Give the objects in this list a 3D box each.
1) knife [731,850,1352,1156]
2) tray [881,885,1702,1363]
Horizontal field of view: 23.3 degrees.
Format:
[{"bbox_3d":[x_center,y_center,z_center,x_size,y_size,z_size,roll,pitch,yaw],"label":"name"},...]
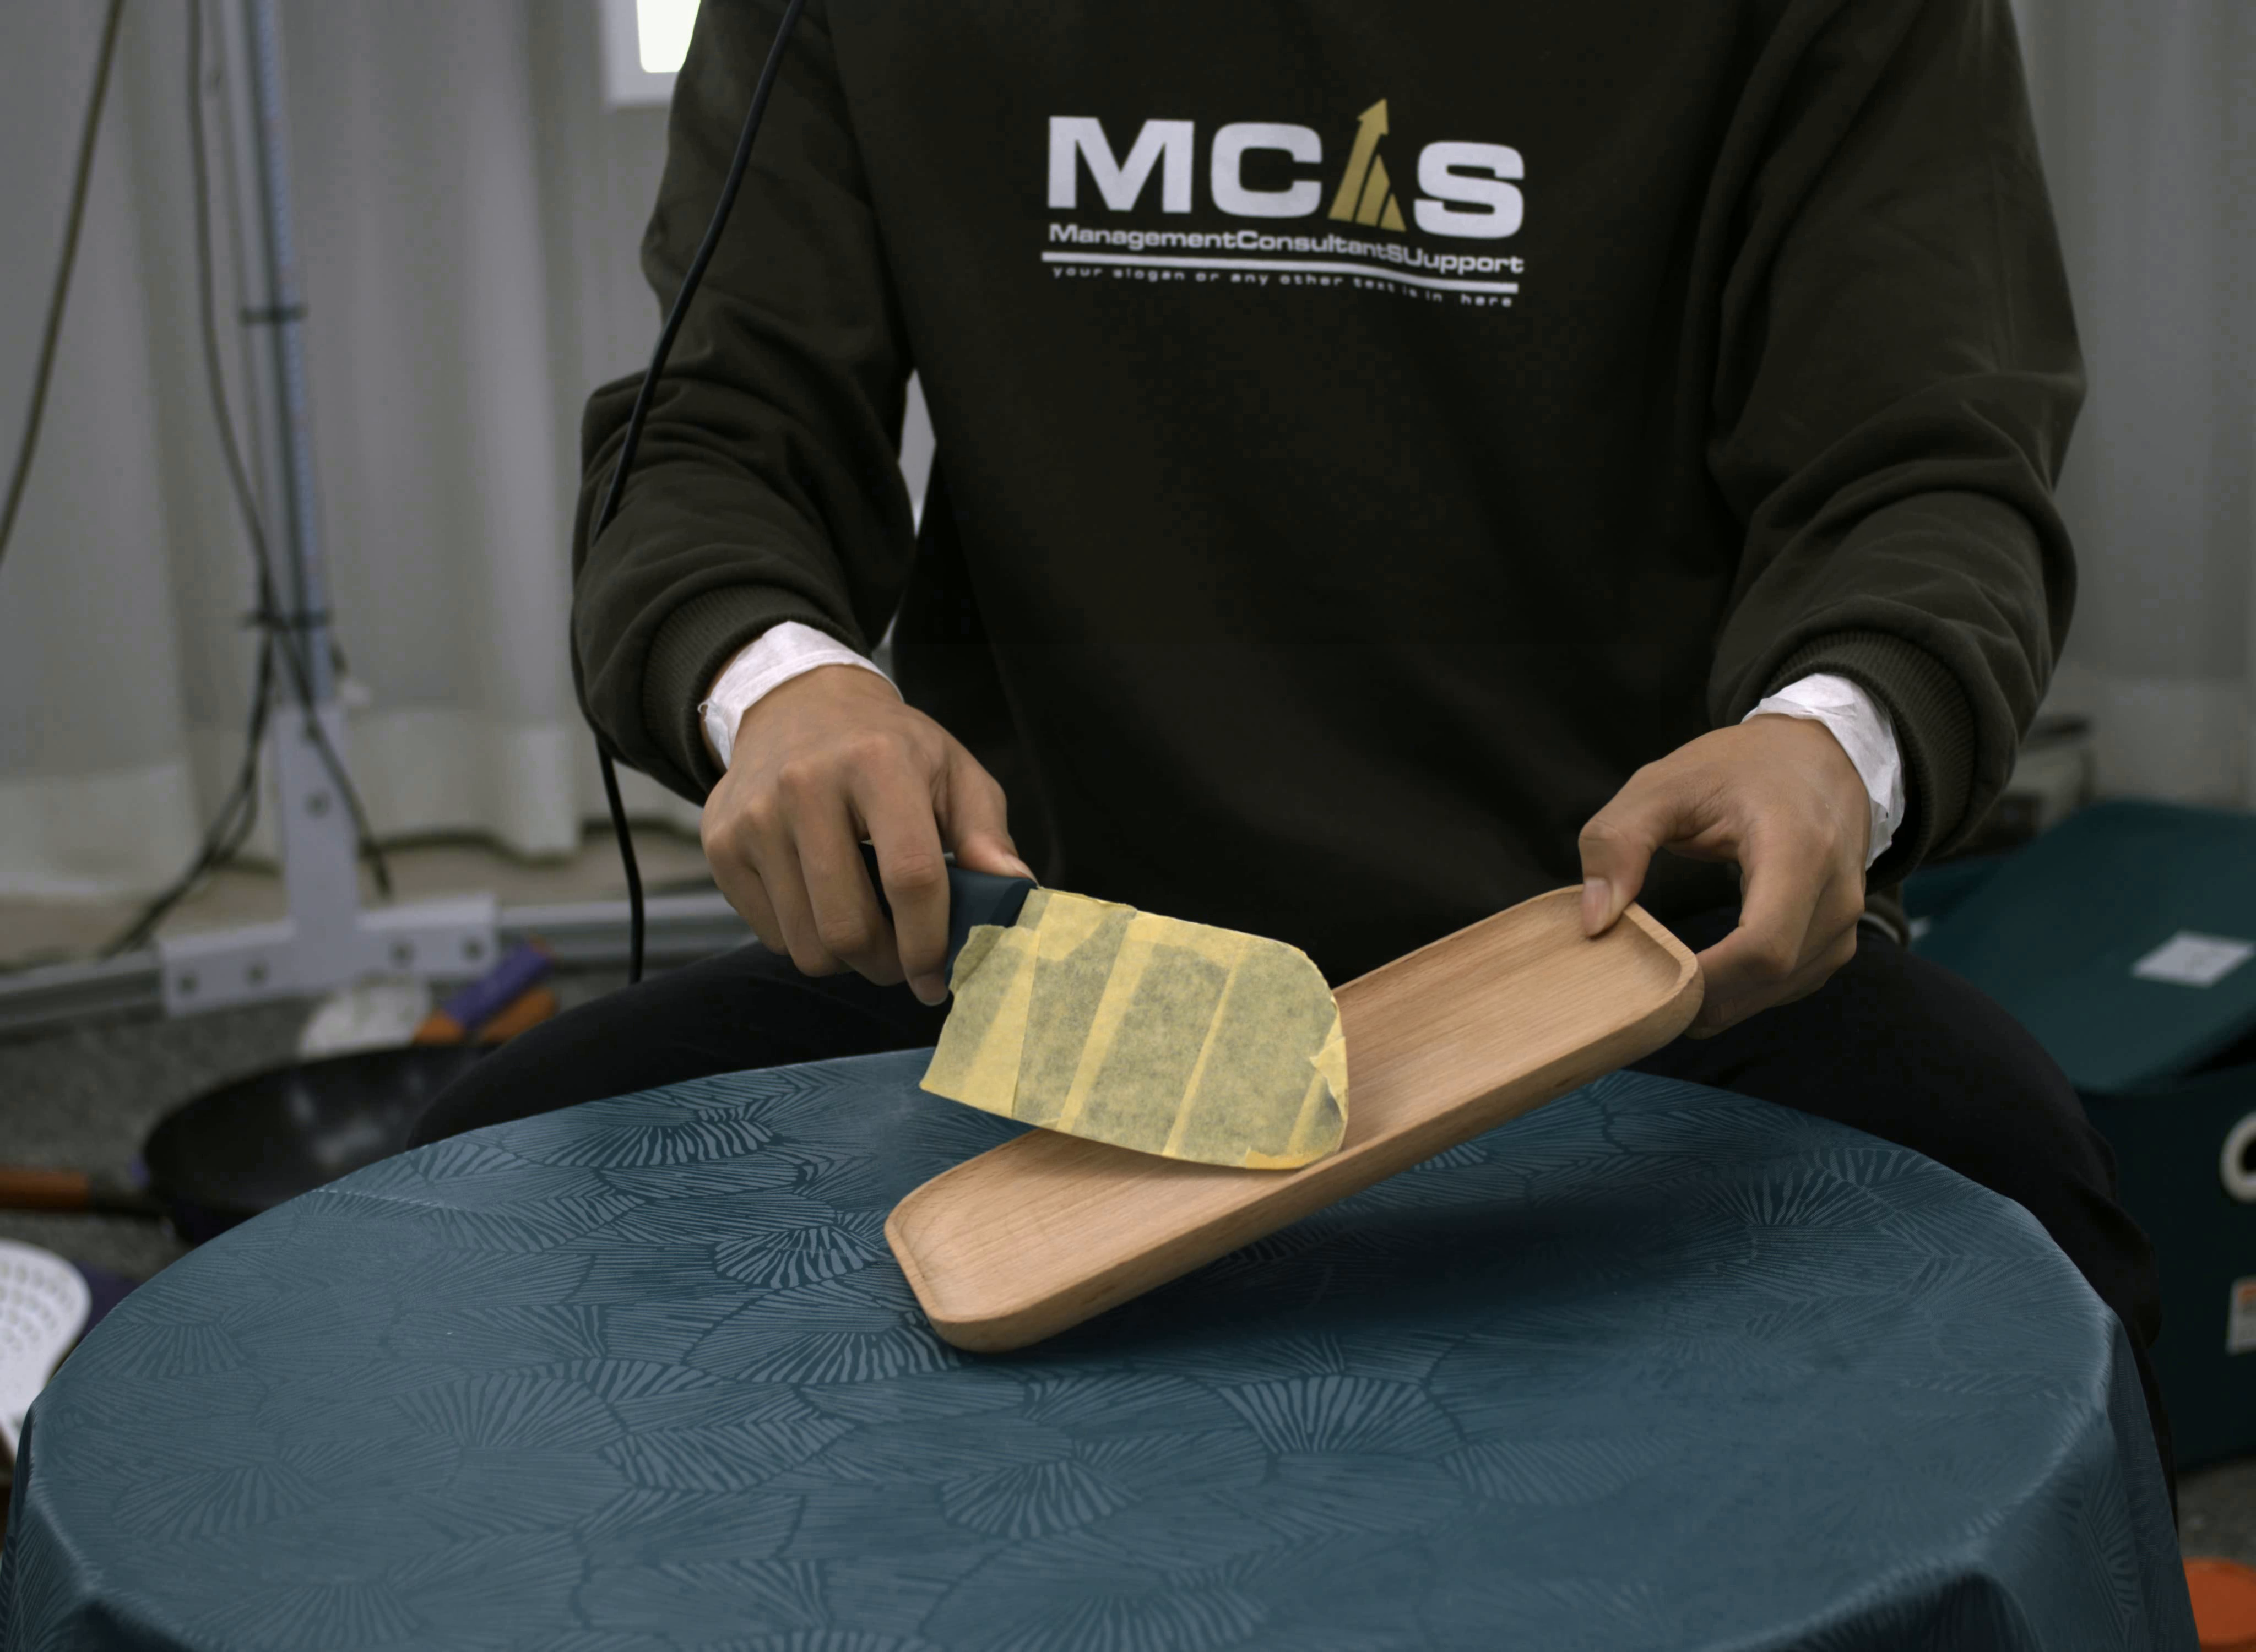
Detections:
[{"bbox_3d":[-0.032,0.052,1.689,0.291,0.081,0.027,15,-14,47],"label":"knife"},{"bbox_3d":[0.048,0.088,1.629,0.250,0.023,0.131,-26,16,-5],"label":"tray"}]
